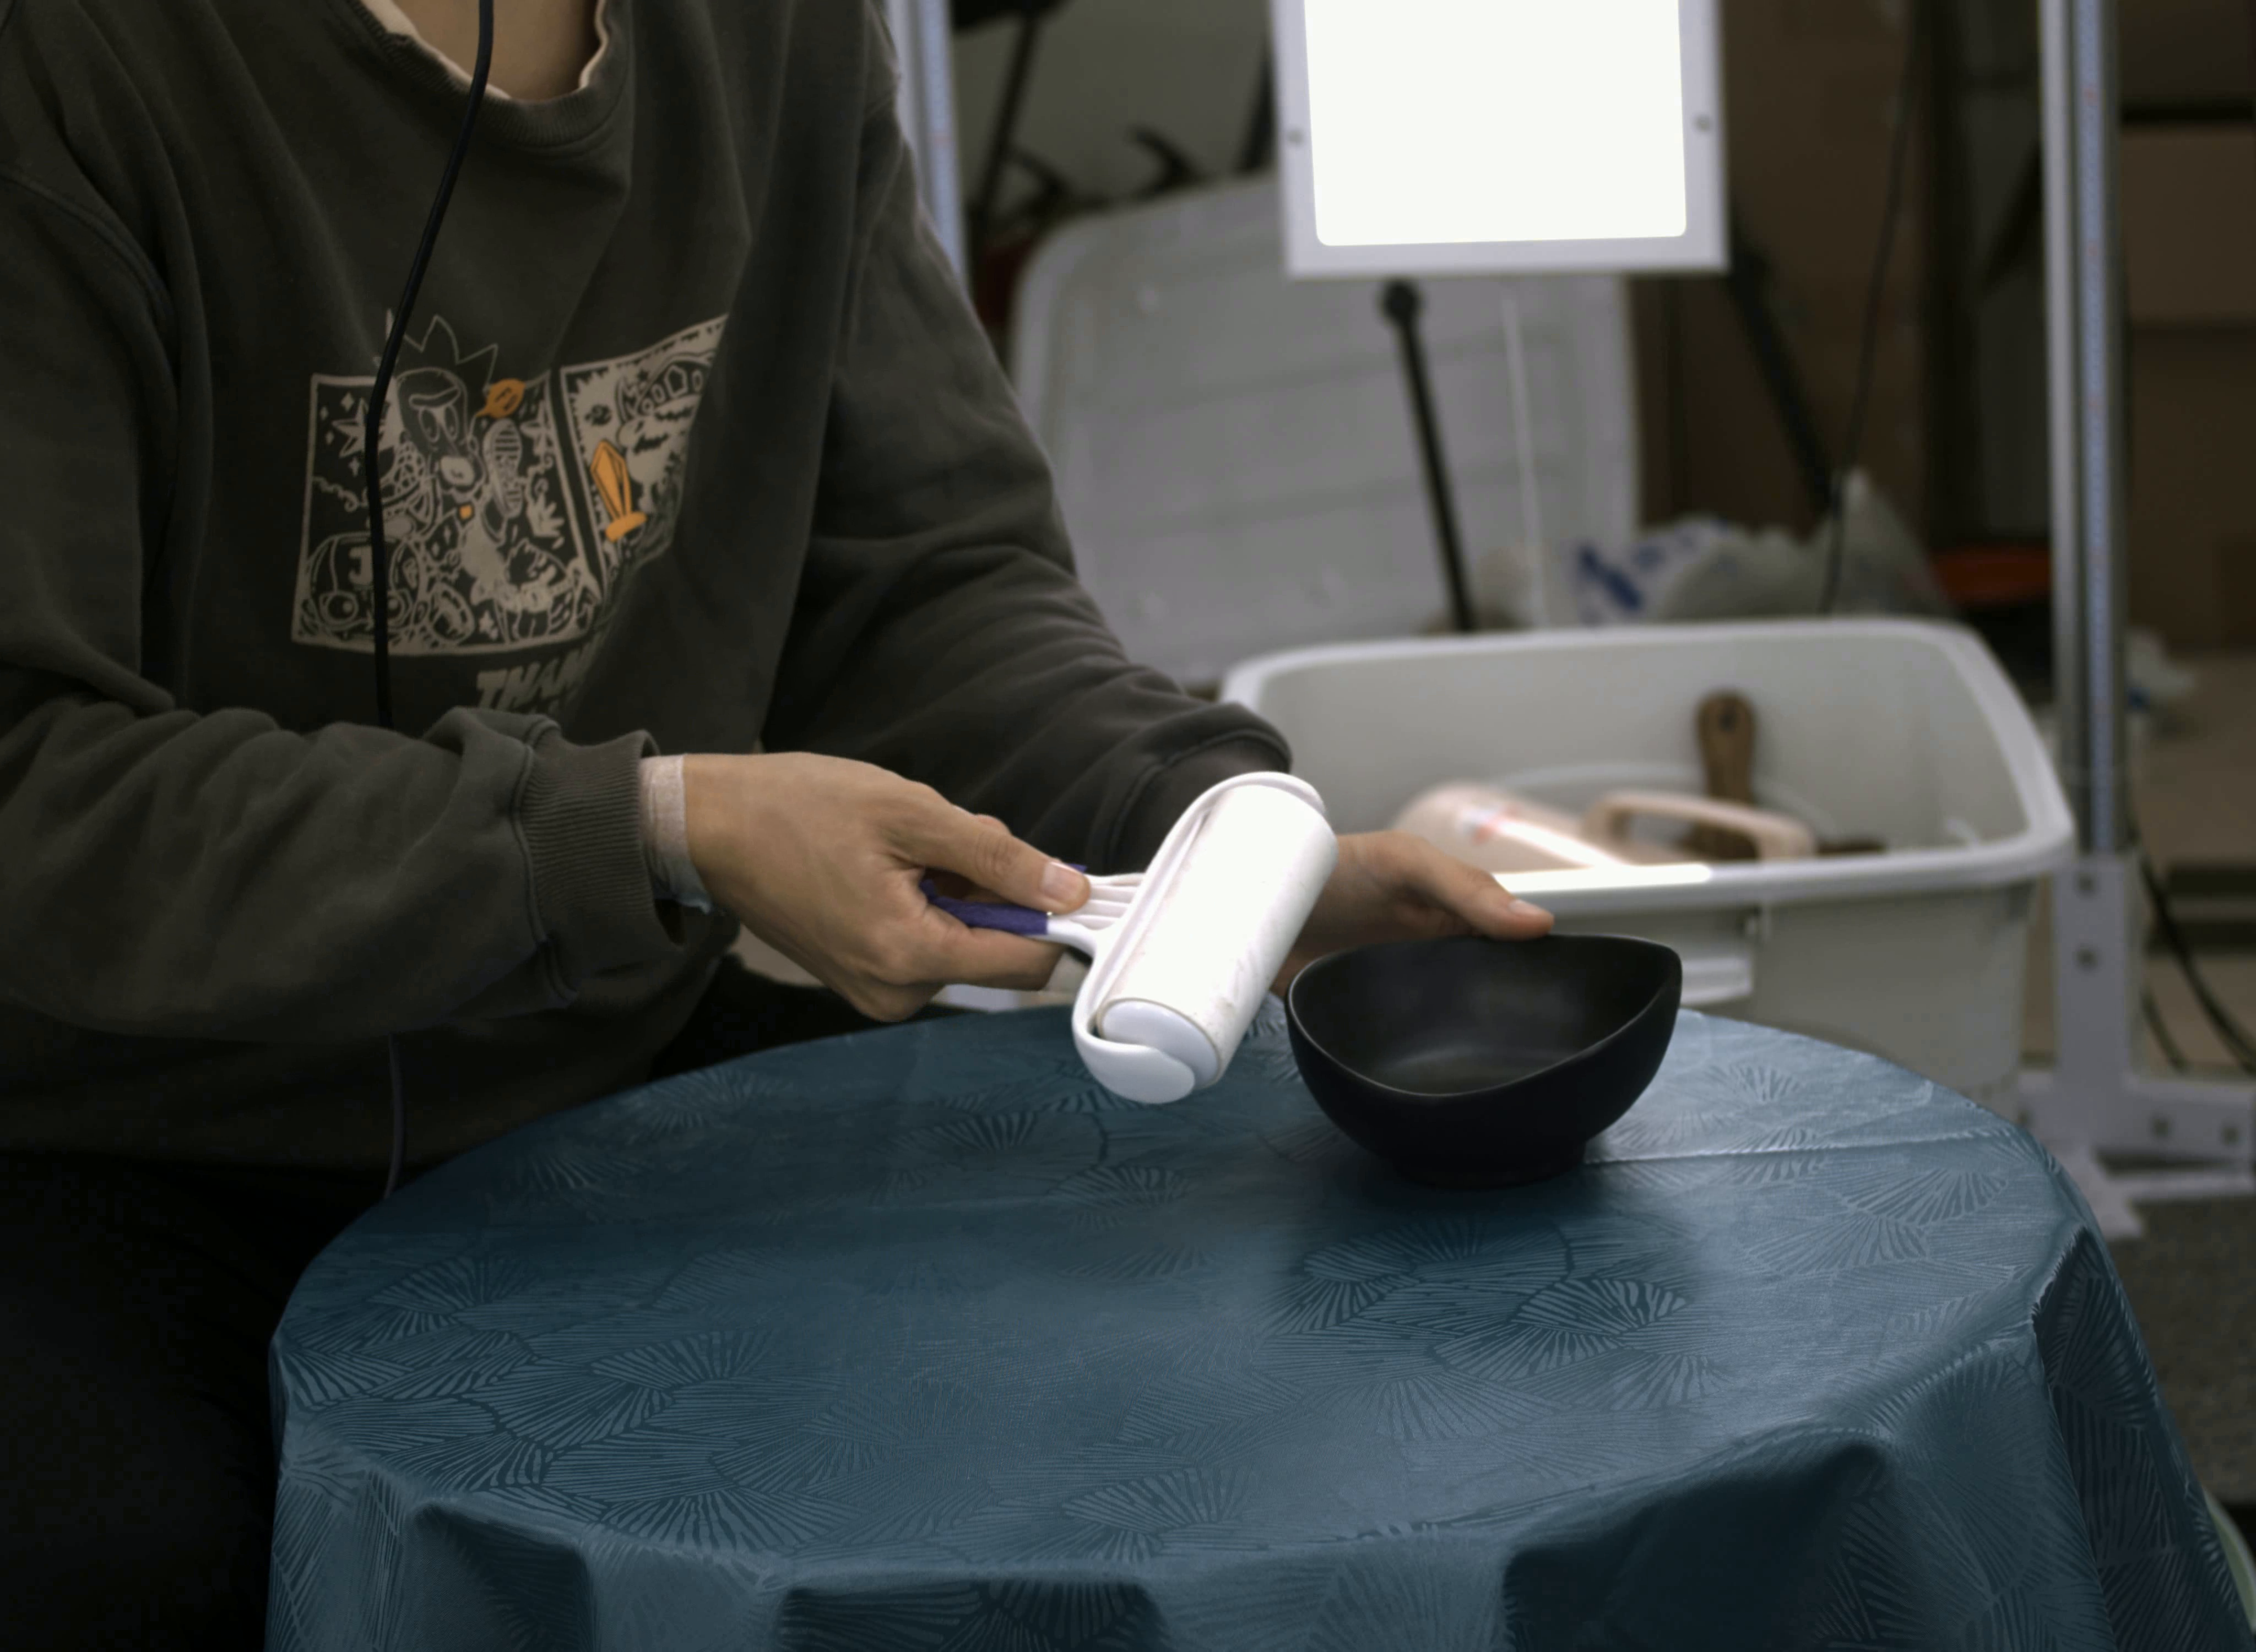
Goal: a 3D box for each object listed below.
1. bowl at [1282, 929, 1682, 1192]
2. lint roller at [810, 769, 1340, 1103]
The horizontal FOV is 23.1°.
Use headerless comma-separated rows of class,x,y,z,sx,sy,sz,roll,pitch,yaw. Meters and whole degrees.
bowl,0.124,0.084,1.891,0.138,0.067,0.168,-3,16,13
lint roller,-0.027,0.018,1.866,0.183,0.050,0.131,18,55,21
